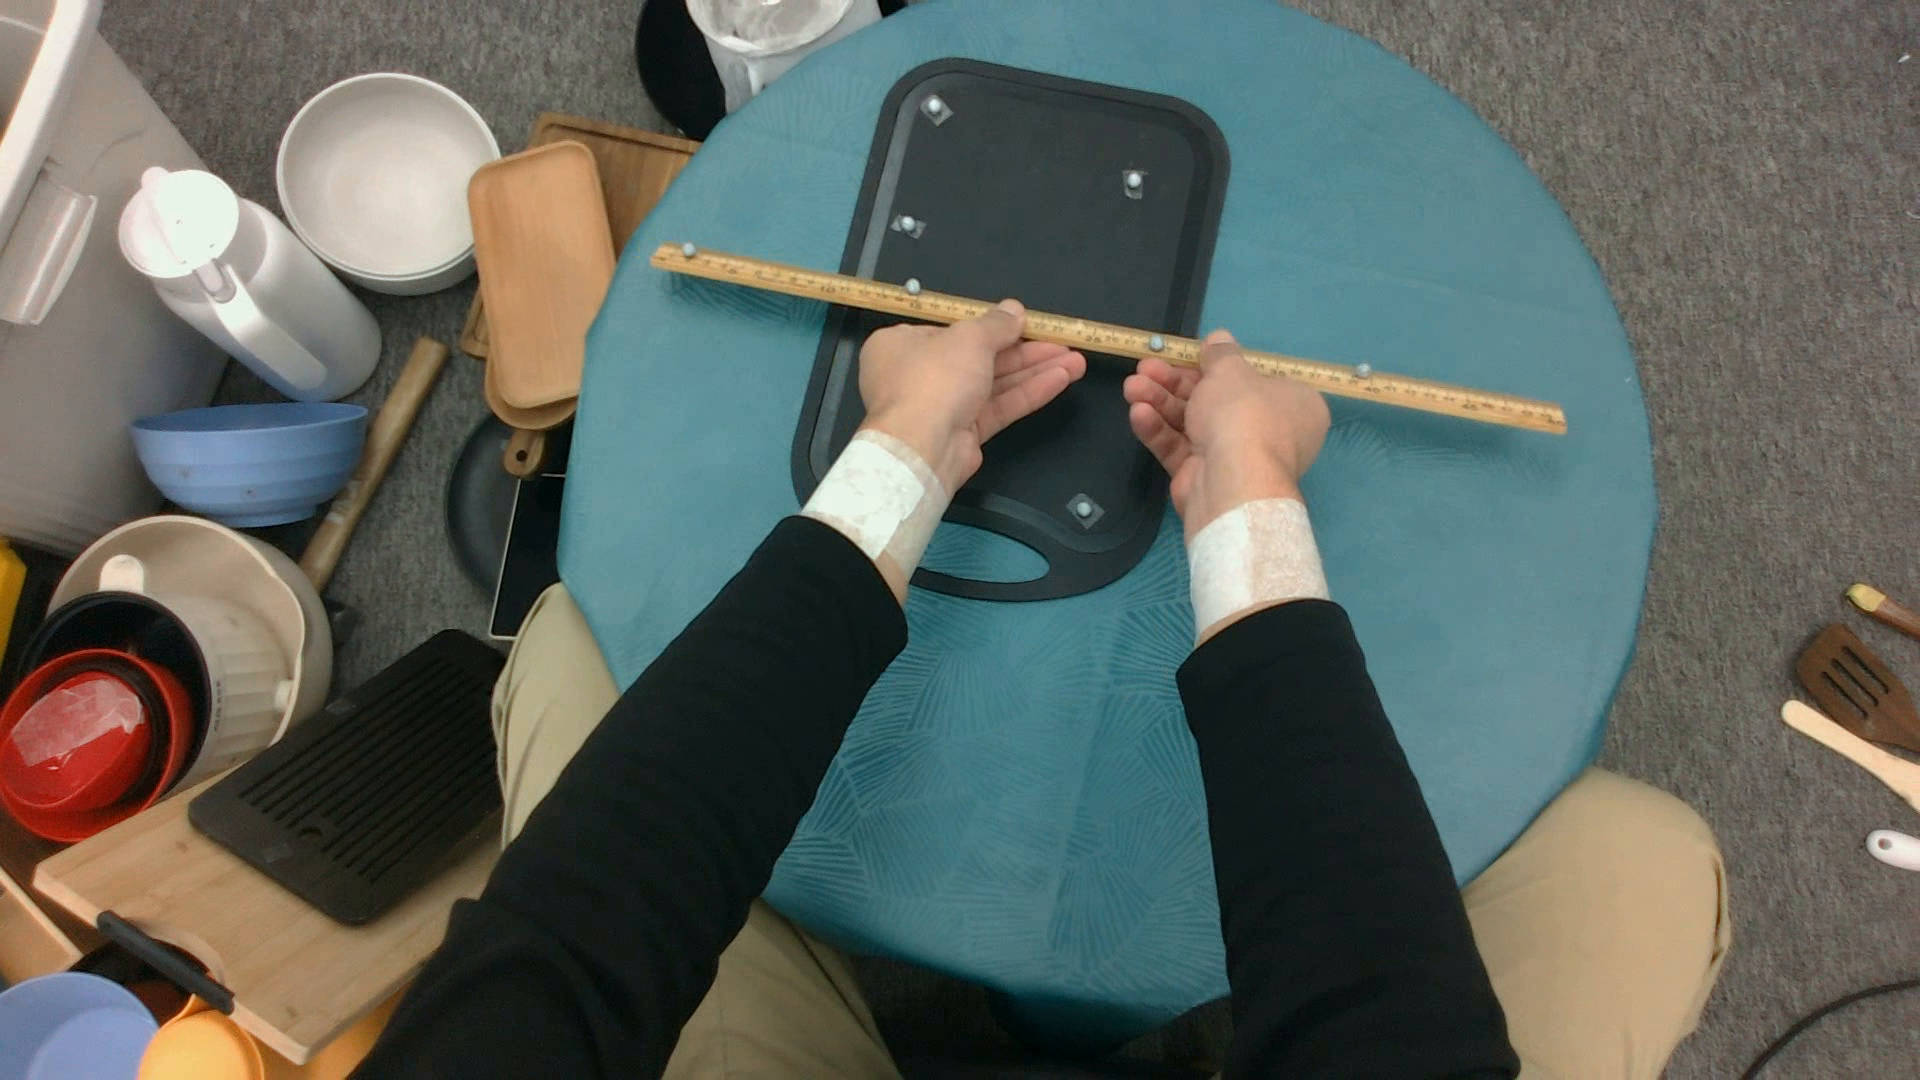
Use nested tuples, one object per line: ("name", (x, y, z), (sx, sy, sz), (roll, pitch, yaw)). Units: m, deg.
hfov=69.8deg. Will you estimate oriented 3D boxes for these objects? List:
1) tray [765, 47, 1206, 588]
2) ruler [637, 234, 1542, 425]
("tray", (0.017, -0.131, 0.781), (0.211, 0.010, 0.326), (12, 74, 3))
("ruler", (0.065, -0.117, 0.754), (0.500, 0.006, 0.027), (11, 39, 5))
